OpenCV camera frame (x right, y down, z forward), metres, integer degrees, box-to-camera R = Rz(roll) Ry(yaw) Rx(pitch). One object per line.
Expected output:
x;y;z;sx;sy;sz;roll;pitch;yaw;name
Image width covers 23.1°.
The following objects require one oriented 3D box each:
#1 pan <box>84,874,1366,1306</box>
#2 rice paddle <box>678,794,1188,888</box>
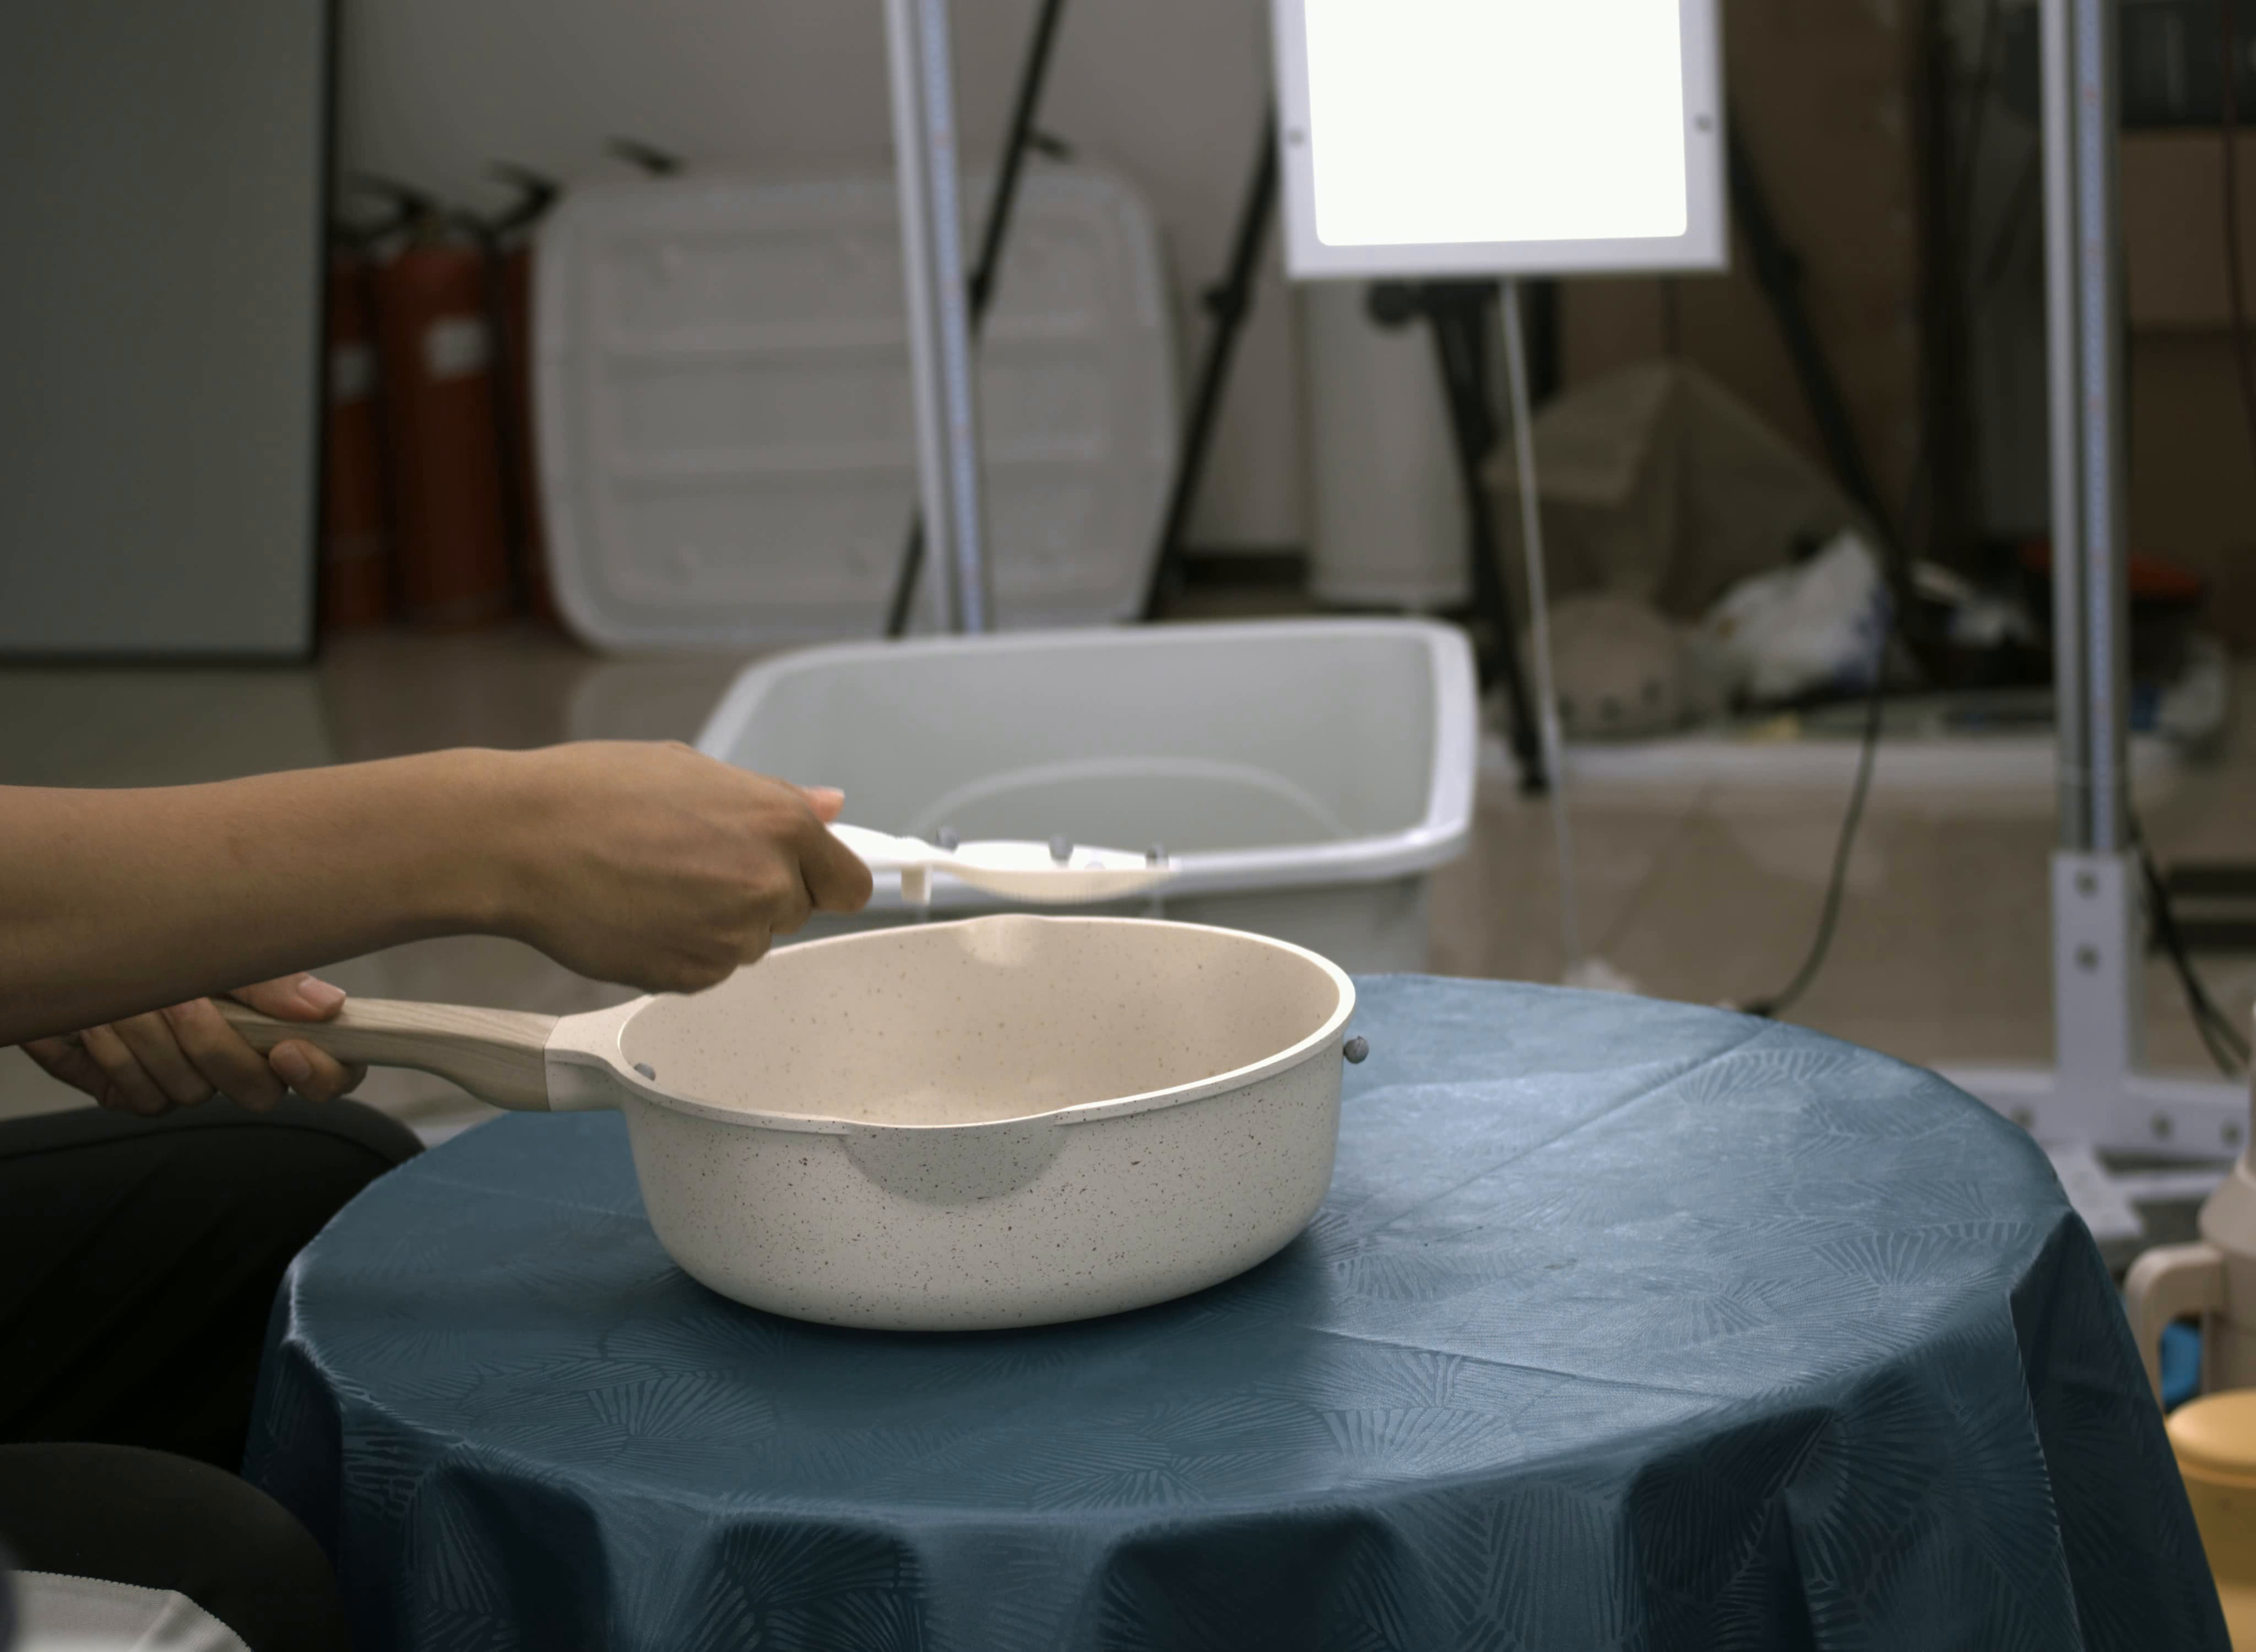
-0.133;0.090;1.871;0.436;0.102;0.262;-4;16;5;pan
-0.061;0.004;1.831;0.200;0.029;0.070;0;7;-42;rice paddle
